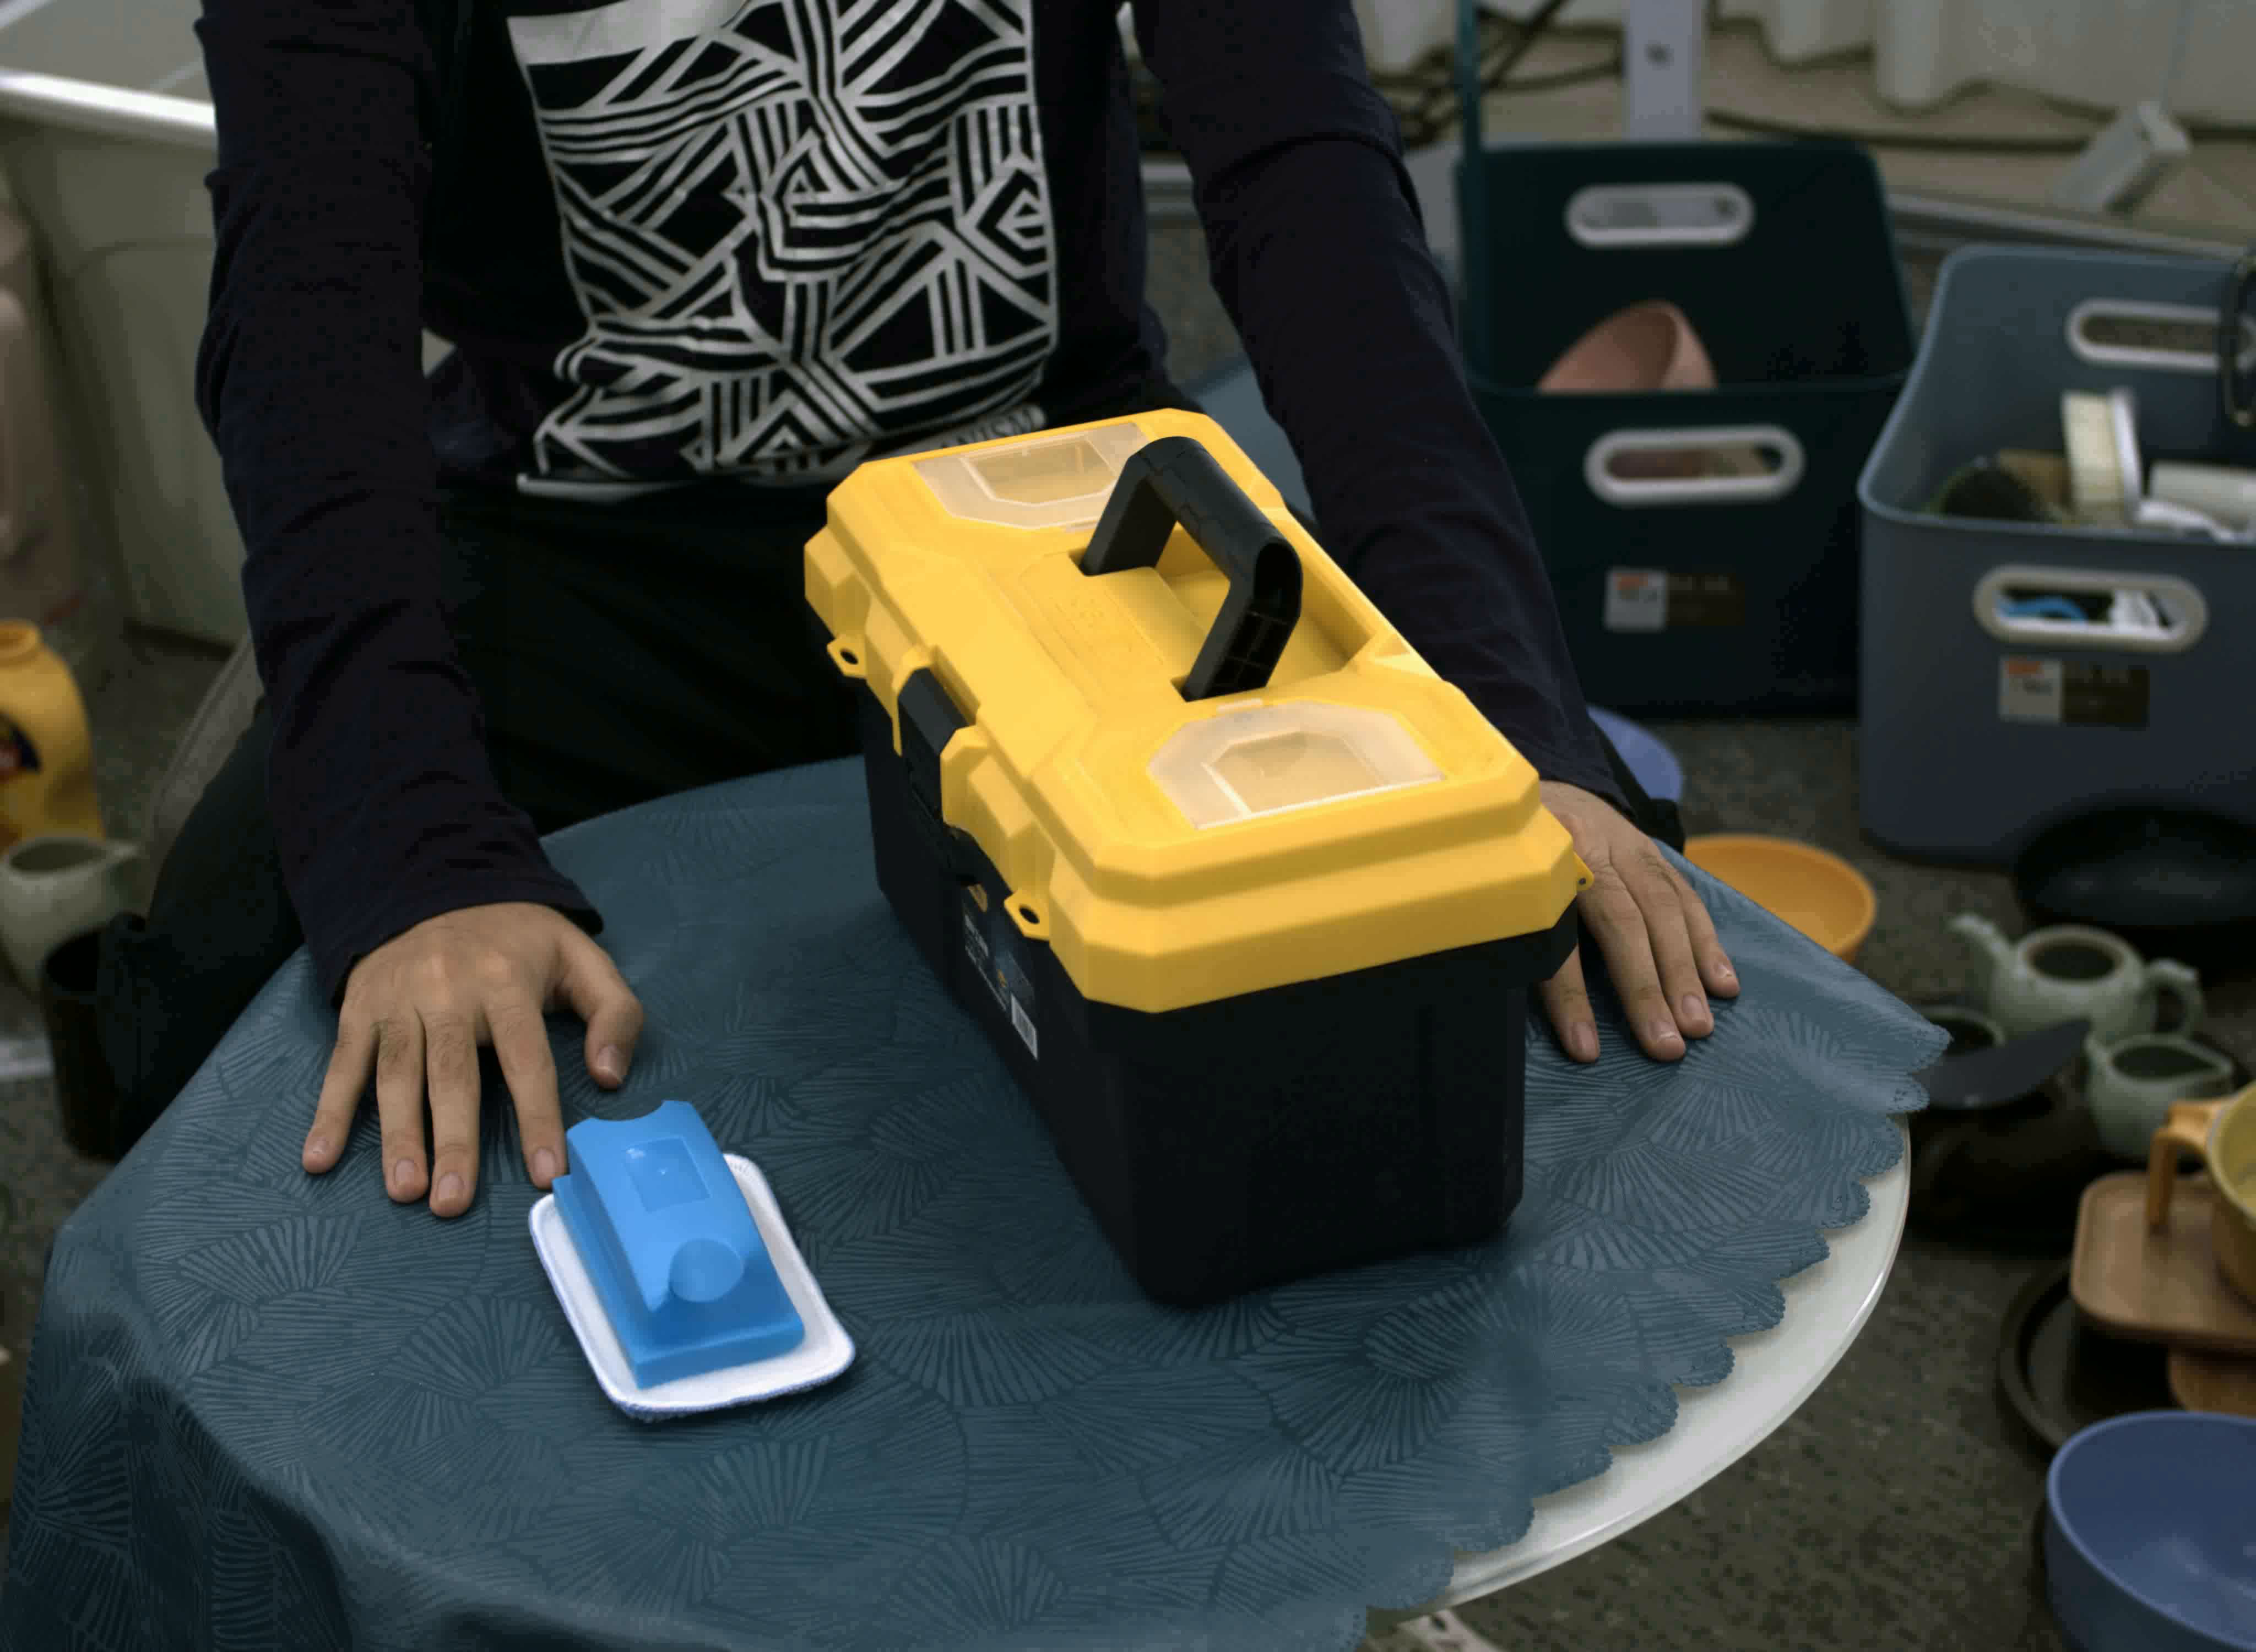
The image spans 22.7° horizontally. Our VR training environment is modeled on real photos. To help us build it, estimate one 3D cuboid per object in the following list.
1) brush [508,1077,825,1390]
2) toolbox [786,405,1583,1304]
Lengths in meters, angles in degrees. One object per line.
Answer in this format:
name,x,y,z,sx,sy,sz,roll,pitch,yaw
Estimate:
brush,-0.148,0.126,1.798,0.084,0.055,0.145,-7,29,-15
toolbox,0.014,0.003,1.900,0.181,0.171,0.354,-11,28,-16
